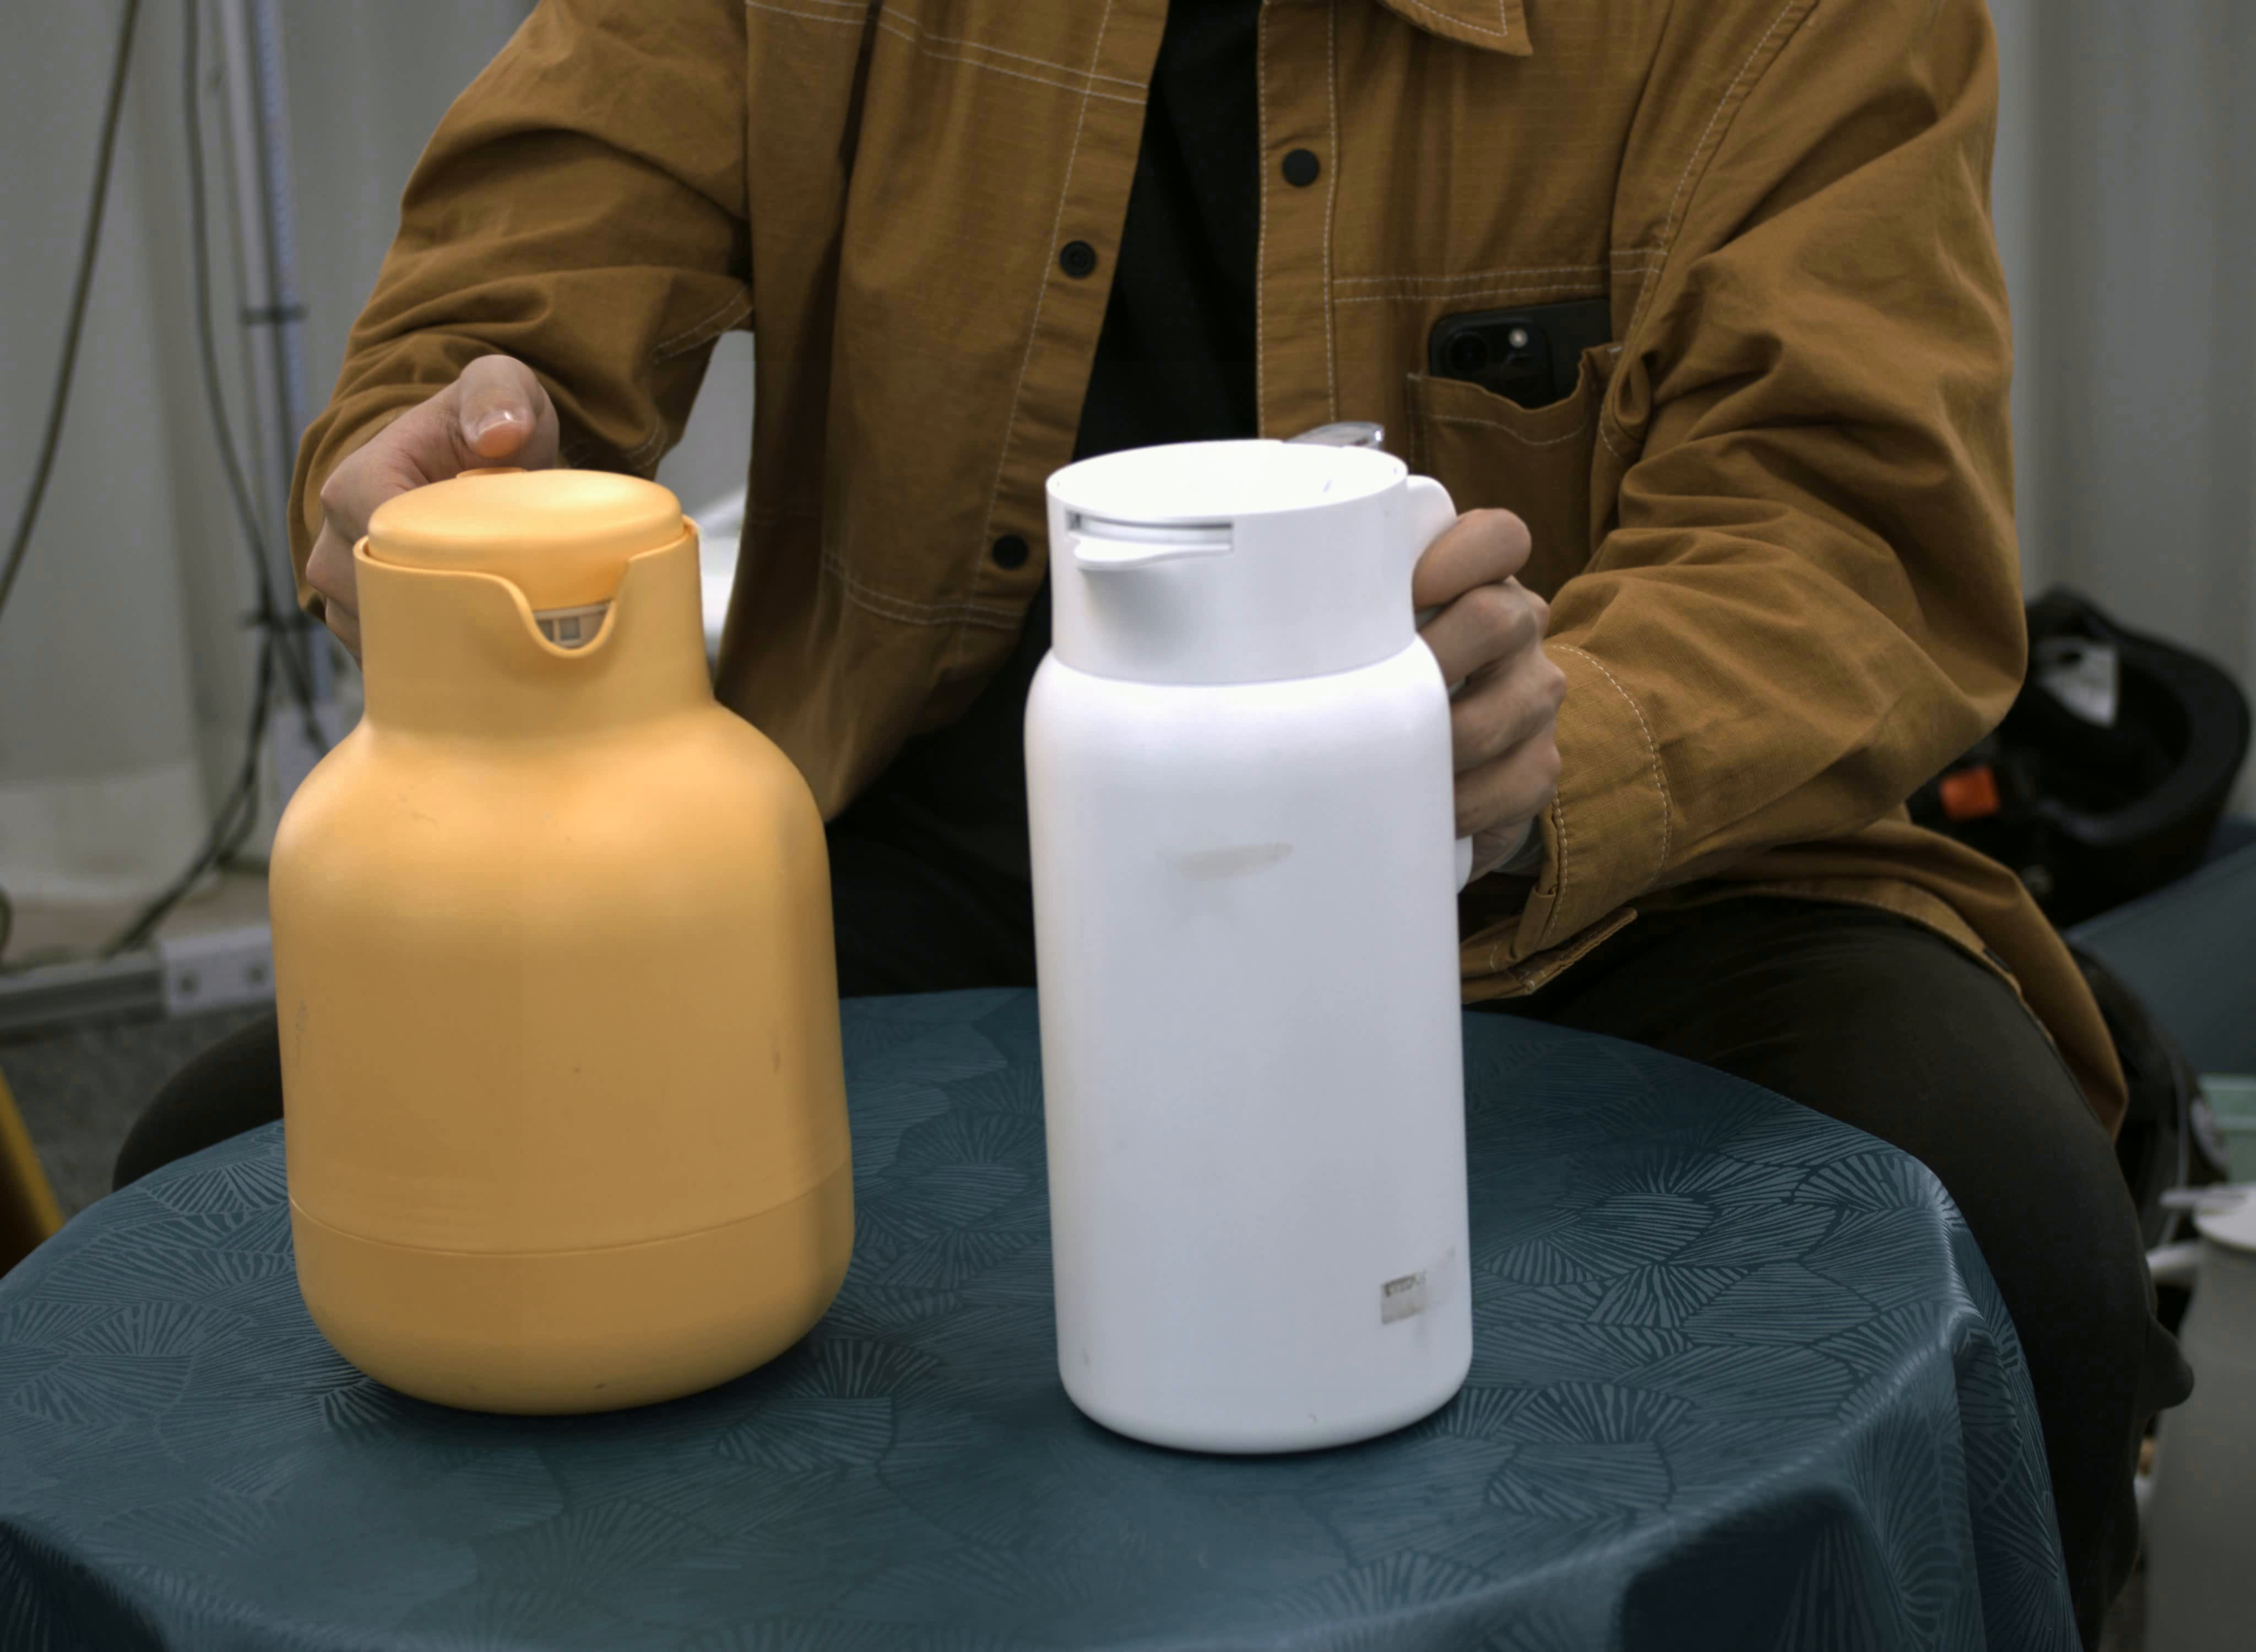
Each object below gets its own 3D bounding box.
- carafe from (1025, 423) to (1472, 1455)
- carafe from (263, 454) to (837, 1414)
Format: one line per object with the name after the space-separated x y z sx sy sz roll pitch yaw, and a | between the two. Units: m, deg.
0.041 0.027 1.522 0.124 0.268 0.173 3 15 32 | carafe
-0.169 0.022 1.586 0.162 0.259 0.204 -3 15 -13 | carafe
